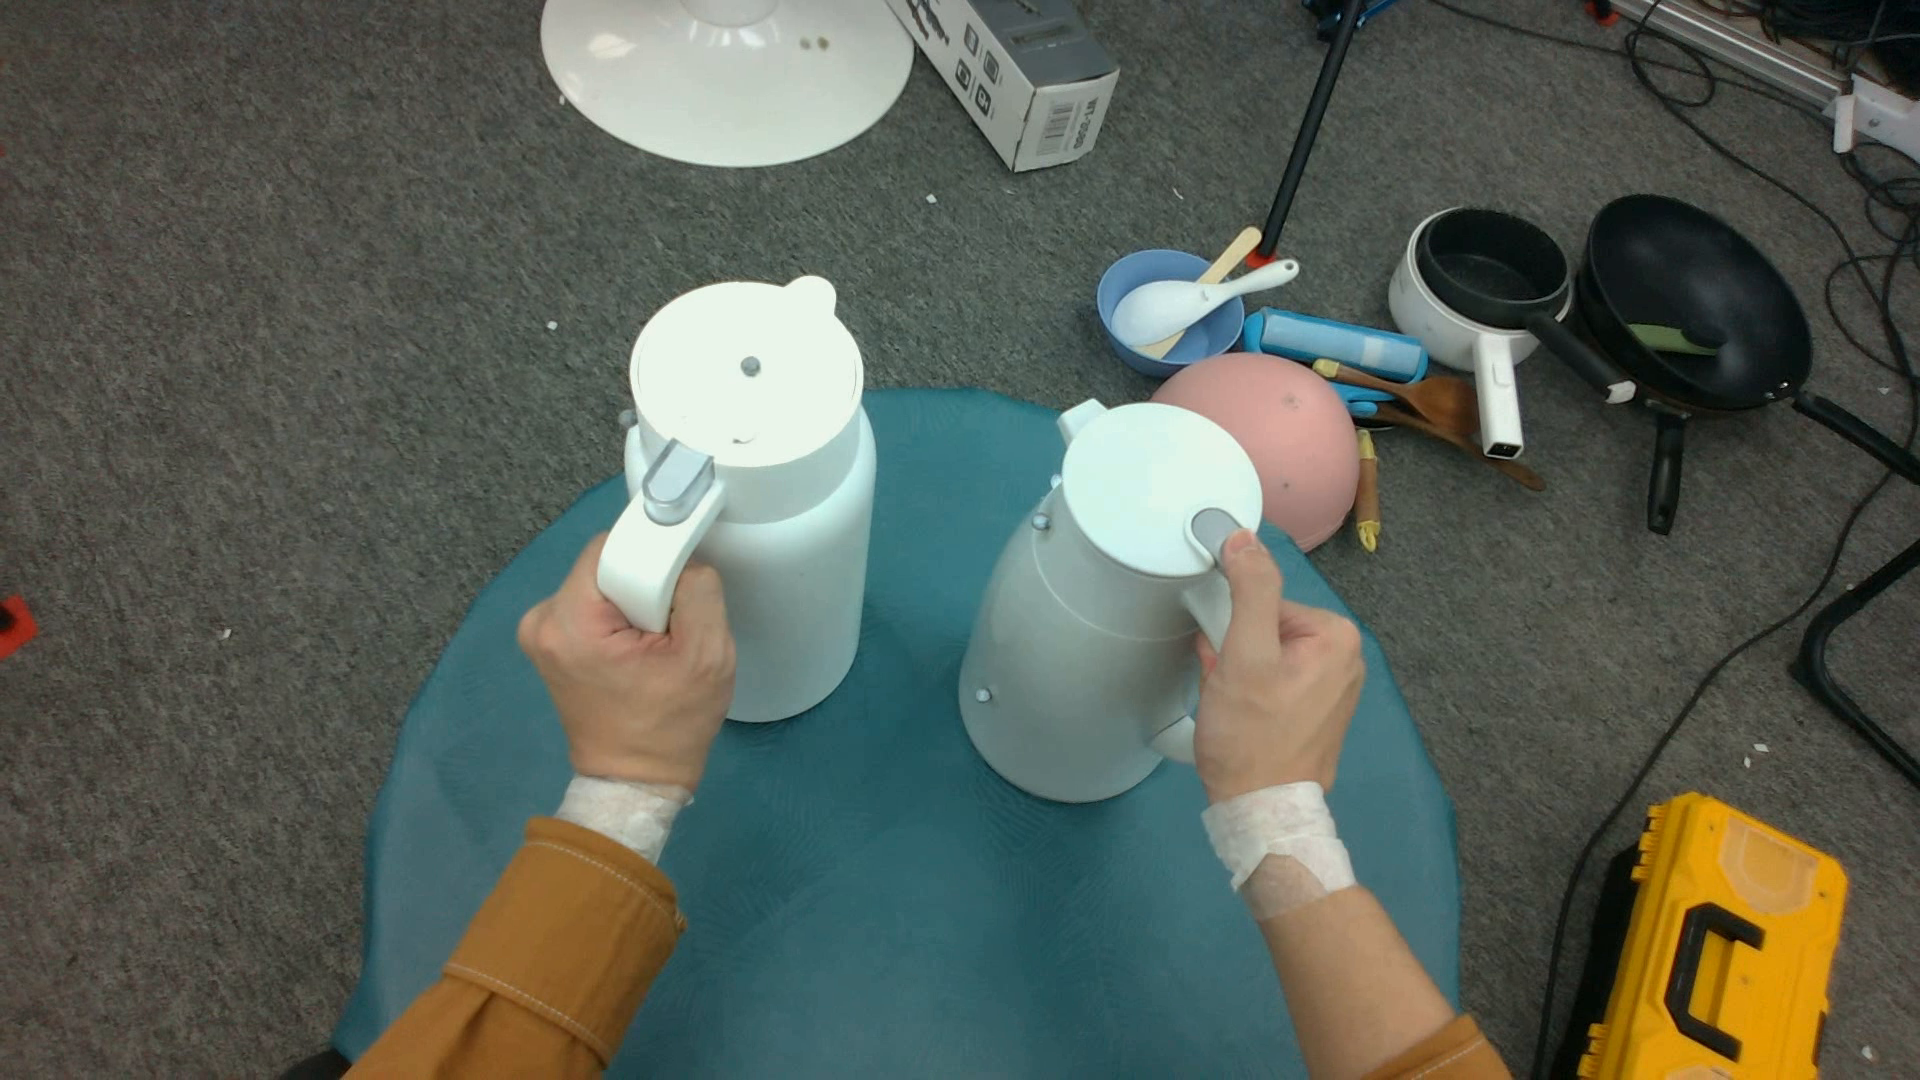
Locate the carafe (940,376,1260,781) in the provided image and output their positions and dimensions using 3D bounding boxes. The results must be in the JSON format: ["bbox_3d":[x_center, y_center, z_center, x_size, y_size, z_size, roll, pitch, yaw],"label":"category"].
[{"bbox_3d":[0.080,0.036,0.706,0.133,0.247,0.168,-29,70,-22],"label":"carafe"}]

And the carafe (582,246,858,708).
[{"bbox_3d":[-0.120,-0.003,0.689,0.124,0.267,0.173,25,60,4],"label":"carafe"}]
